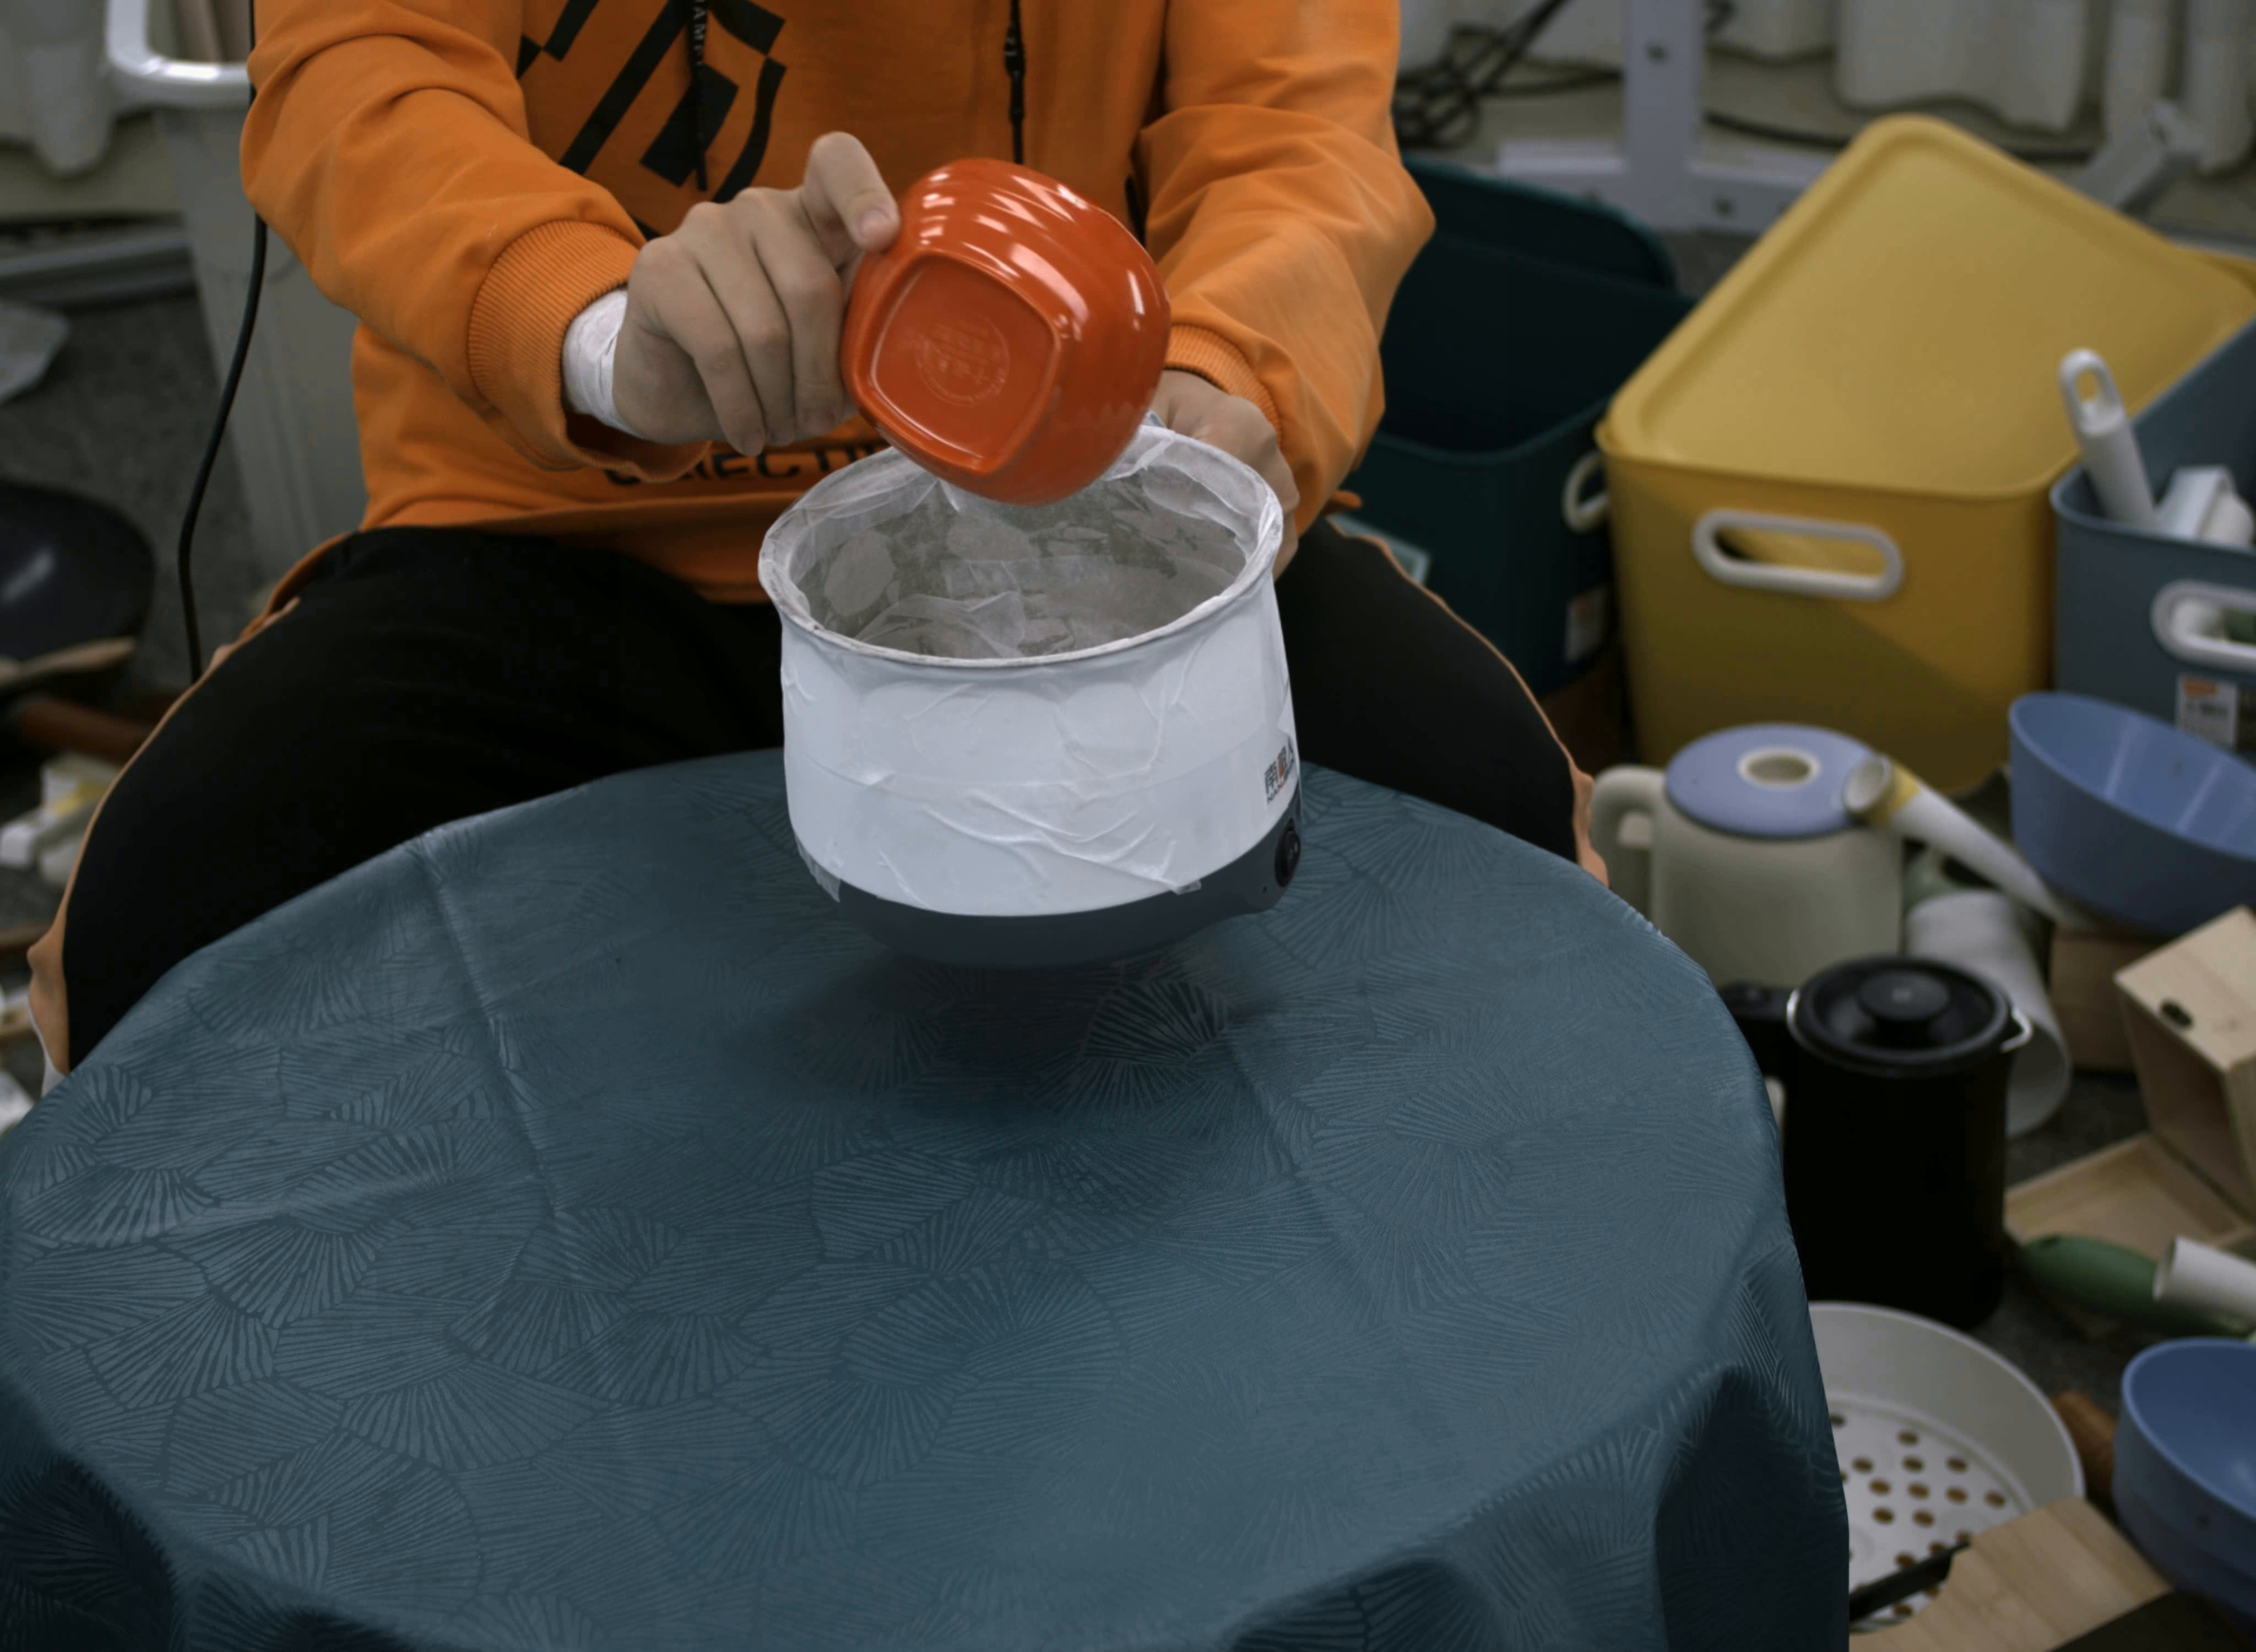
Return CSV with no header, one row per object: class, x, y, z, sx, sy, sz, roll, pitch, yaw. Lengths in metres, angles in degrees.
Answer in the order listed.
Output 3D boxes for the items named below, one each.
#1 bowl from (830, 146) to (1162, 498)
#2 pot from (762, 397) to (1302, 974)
bowl,-0.051,-0.161,1.854,0.118,0.118,0.052,8,19,20
pot,-0.023,-0.057,1.941,0.177,0.135,0.238,6,31,17
